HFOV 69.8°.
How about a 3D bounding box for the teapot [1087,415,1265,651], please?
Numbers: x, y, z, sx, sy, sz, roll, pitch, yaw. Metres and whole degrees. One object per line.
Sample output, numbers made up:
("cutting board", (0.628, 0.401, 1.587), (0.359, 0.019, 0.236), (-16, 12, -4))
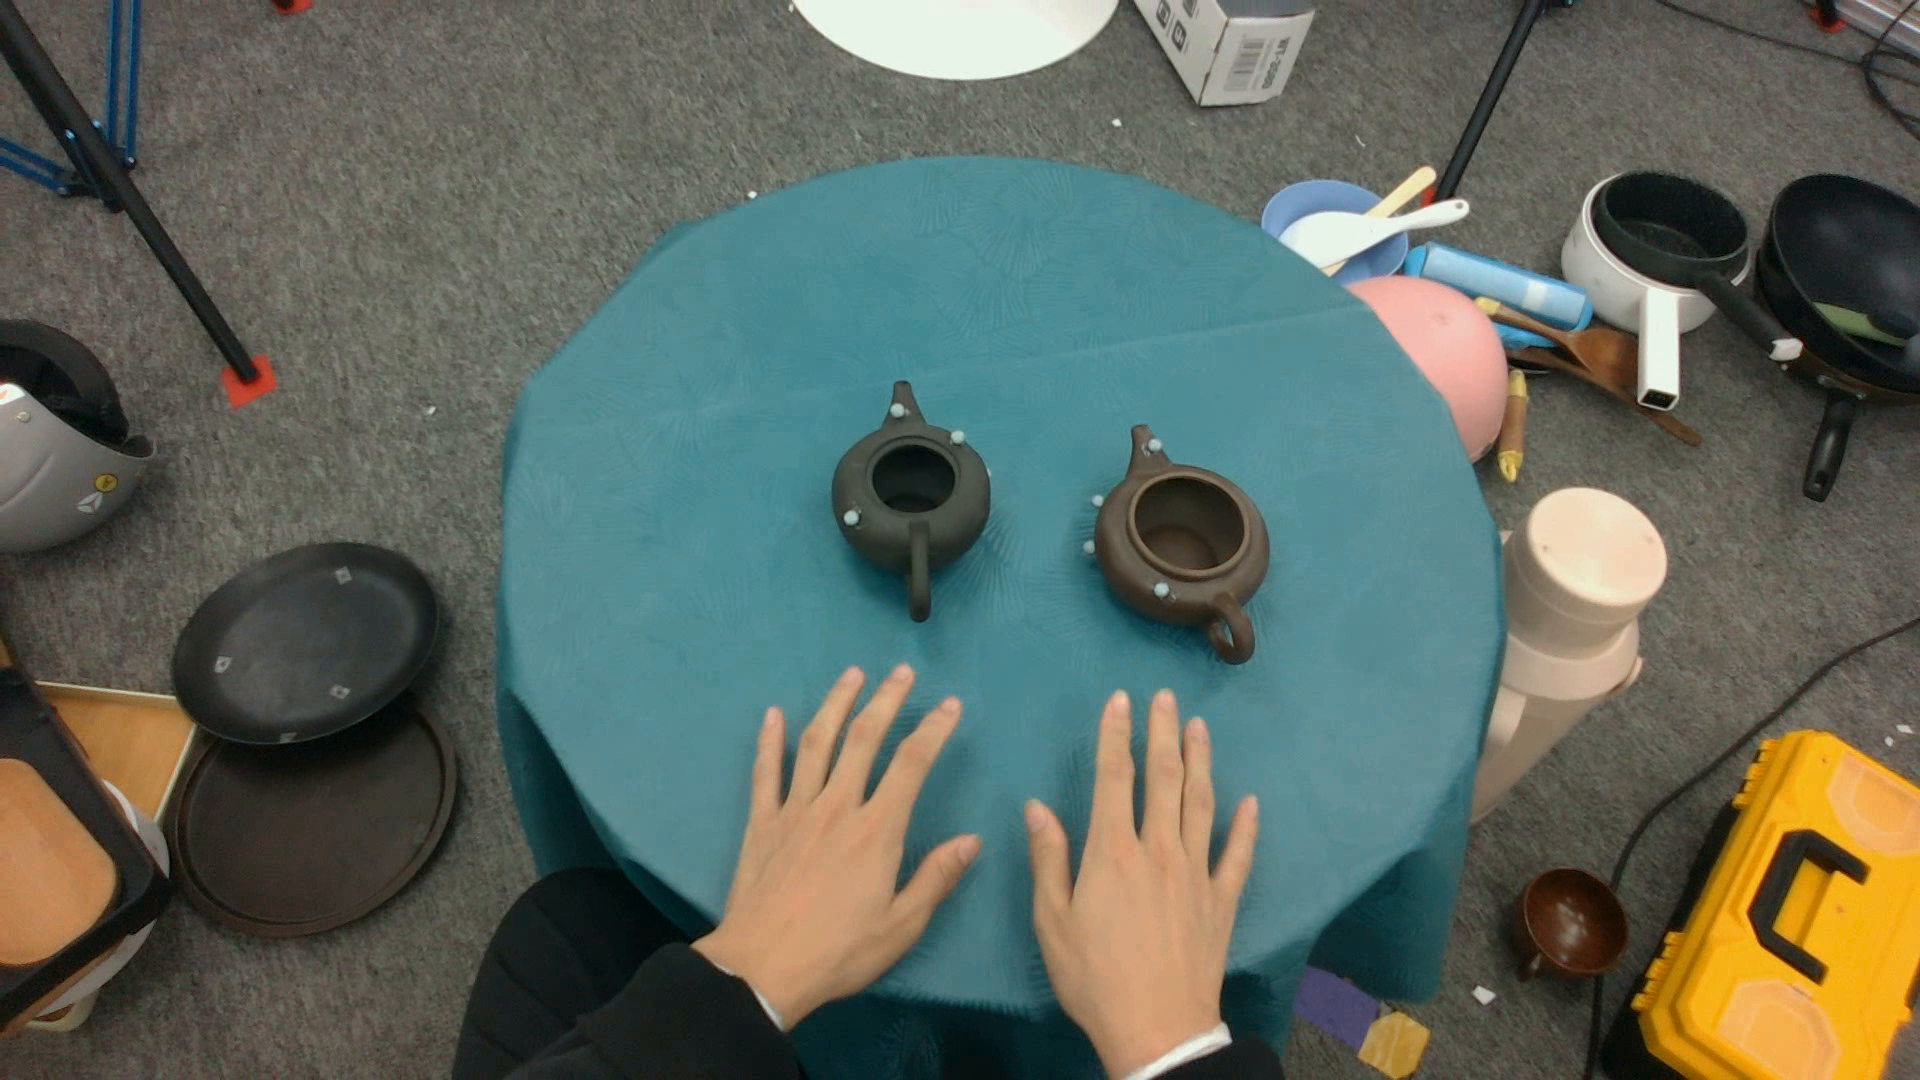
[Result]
("teapot", (0.127, -0.002, 0.796), (0.103, 0.053, 0.154), (-23, 62, -14))

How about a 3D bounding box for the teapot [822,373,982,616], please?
("teapot", (-0.033, -0.025, 0.793), (0.092, 0.064, 0.155), (-3, 58, -5))
